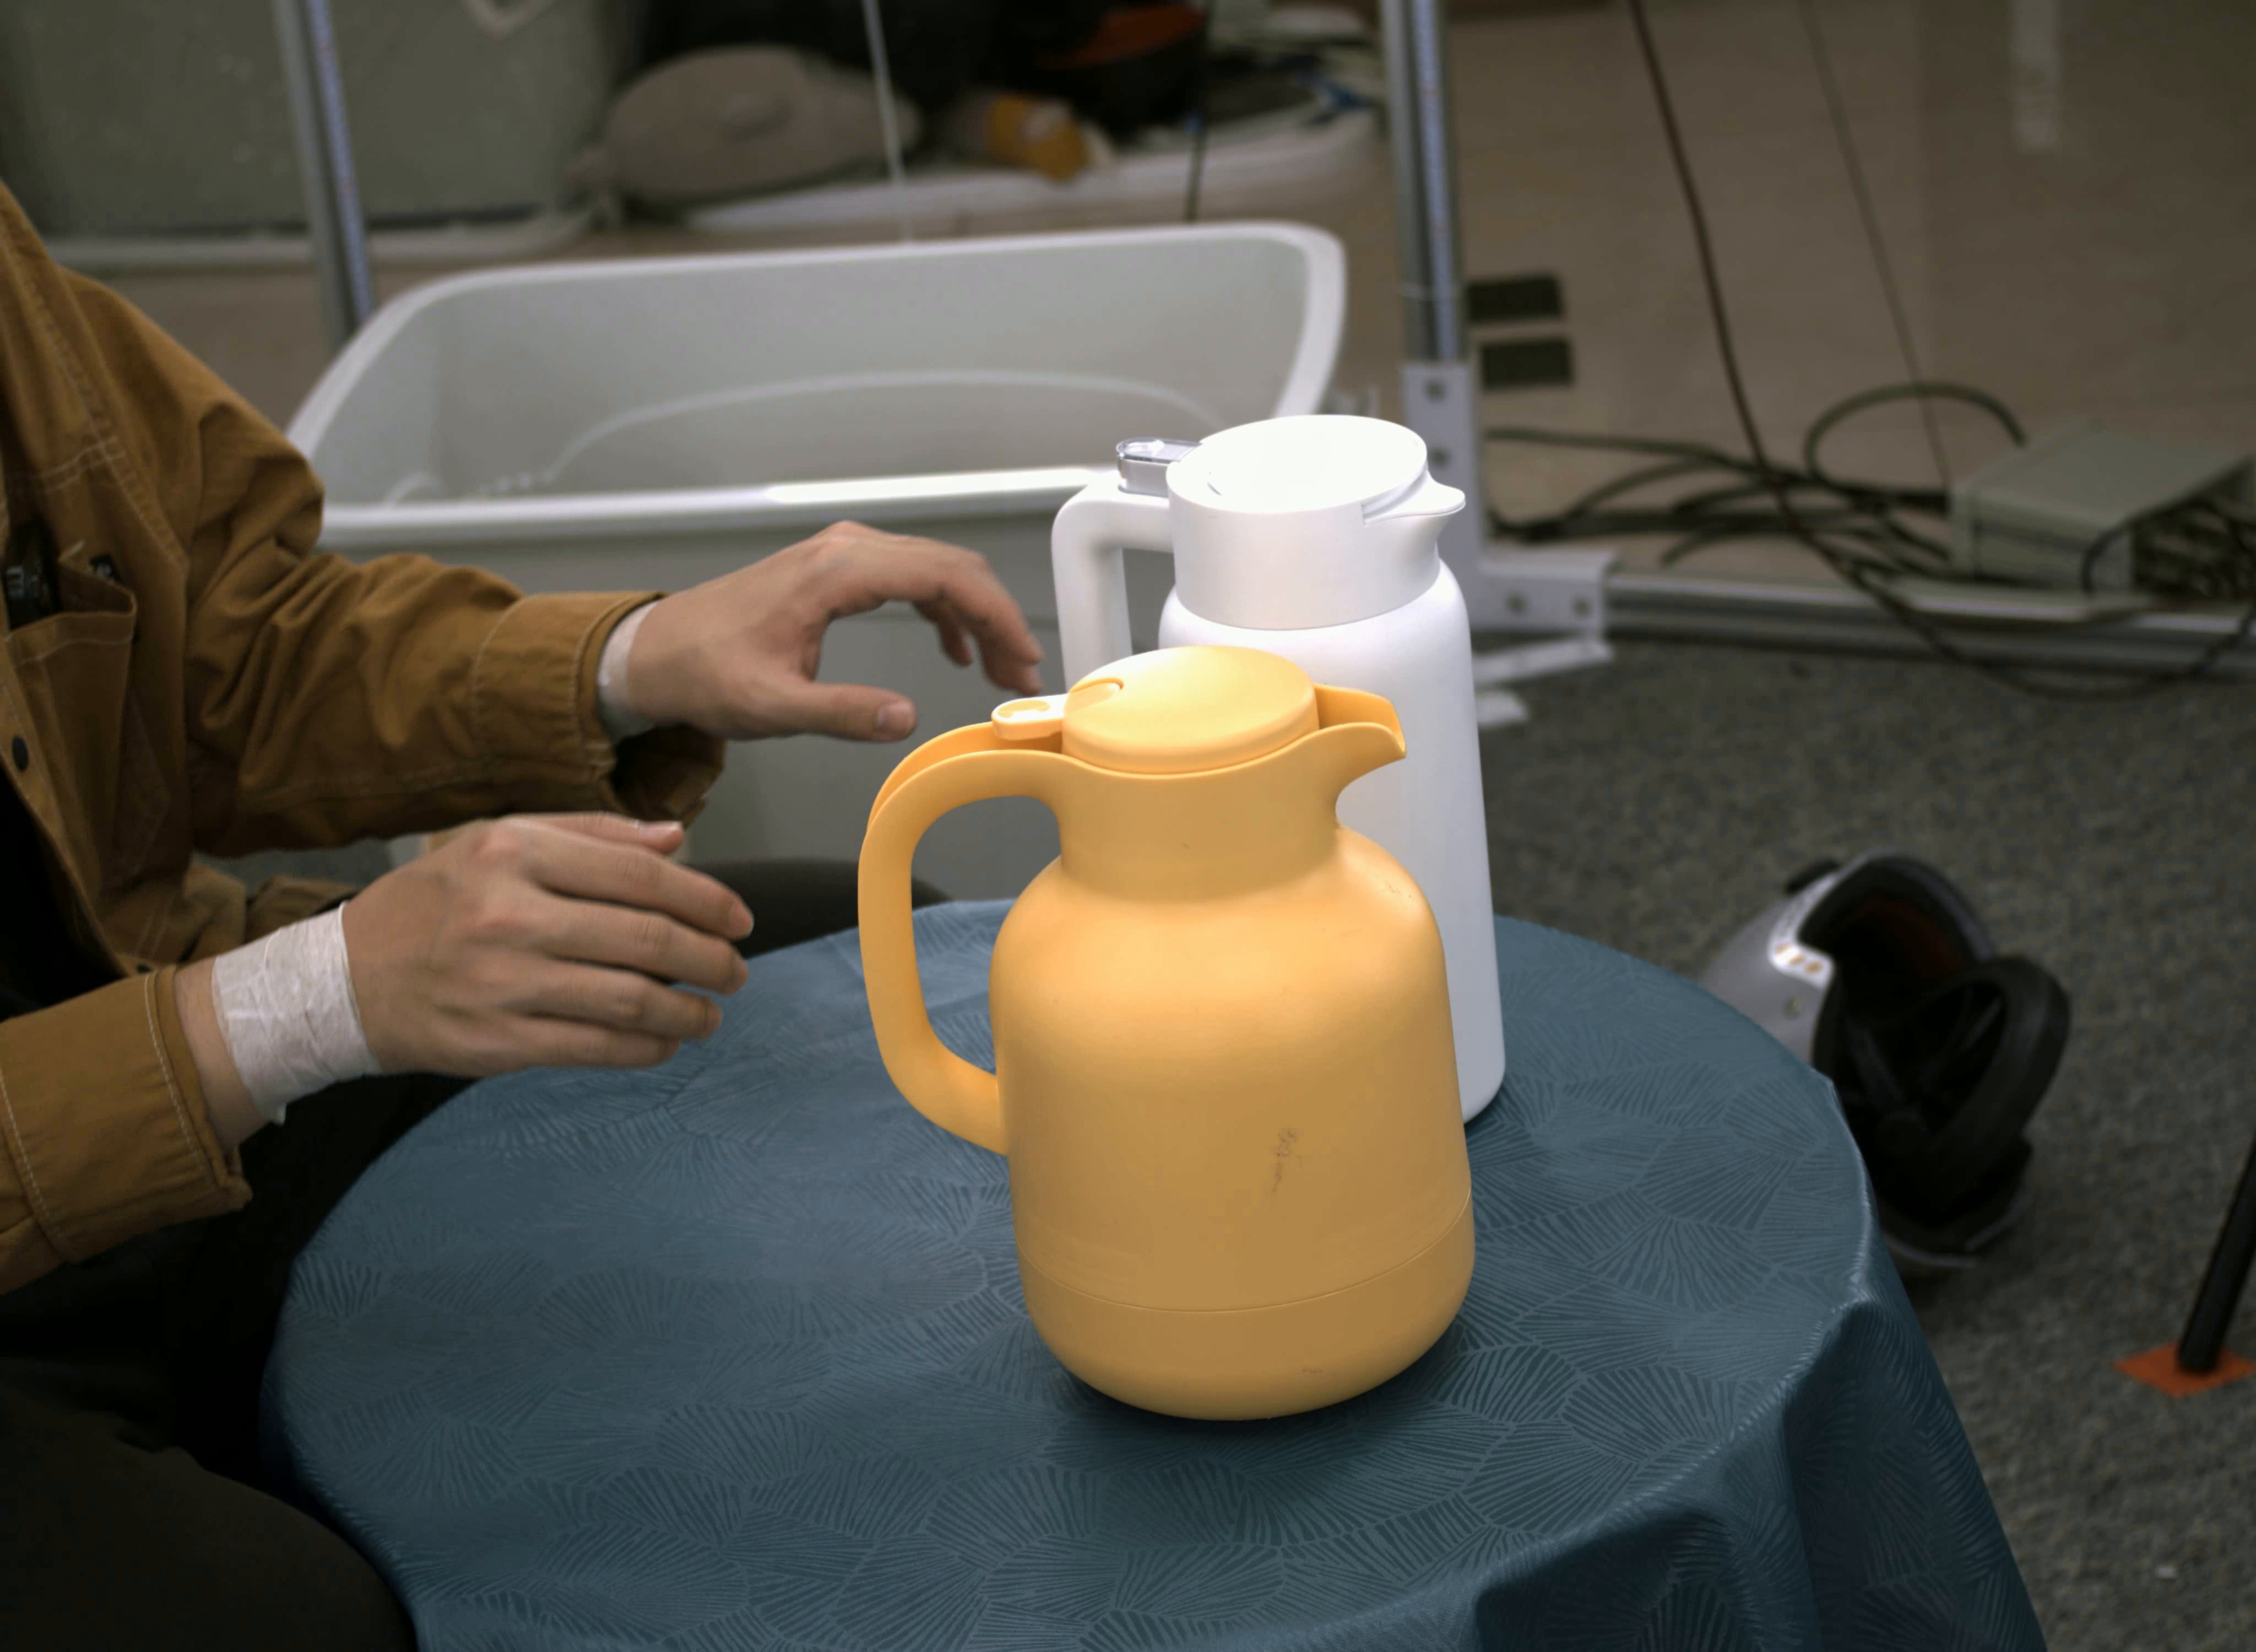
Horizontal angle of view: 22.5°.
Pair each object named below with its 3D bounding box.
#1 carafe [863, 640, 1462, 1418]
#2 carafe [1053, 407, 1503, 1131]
[{"bbox_3d":[0.012,0.066,1.984,0.202,0.264,0.161,-1,23,7],"label":"carafe"},{"bbox_3d":[0.059,-0.017,2.149,0.172,0.273,0.122,8,31,28],"label":"carafe"}]
